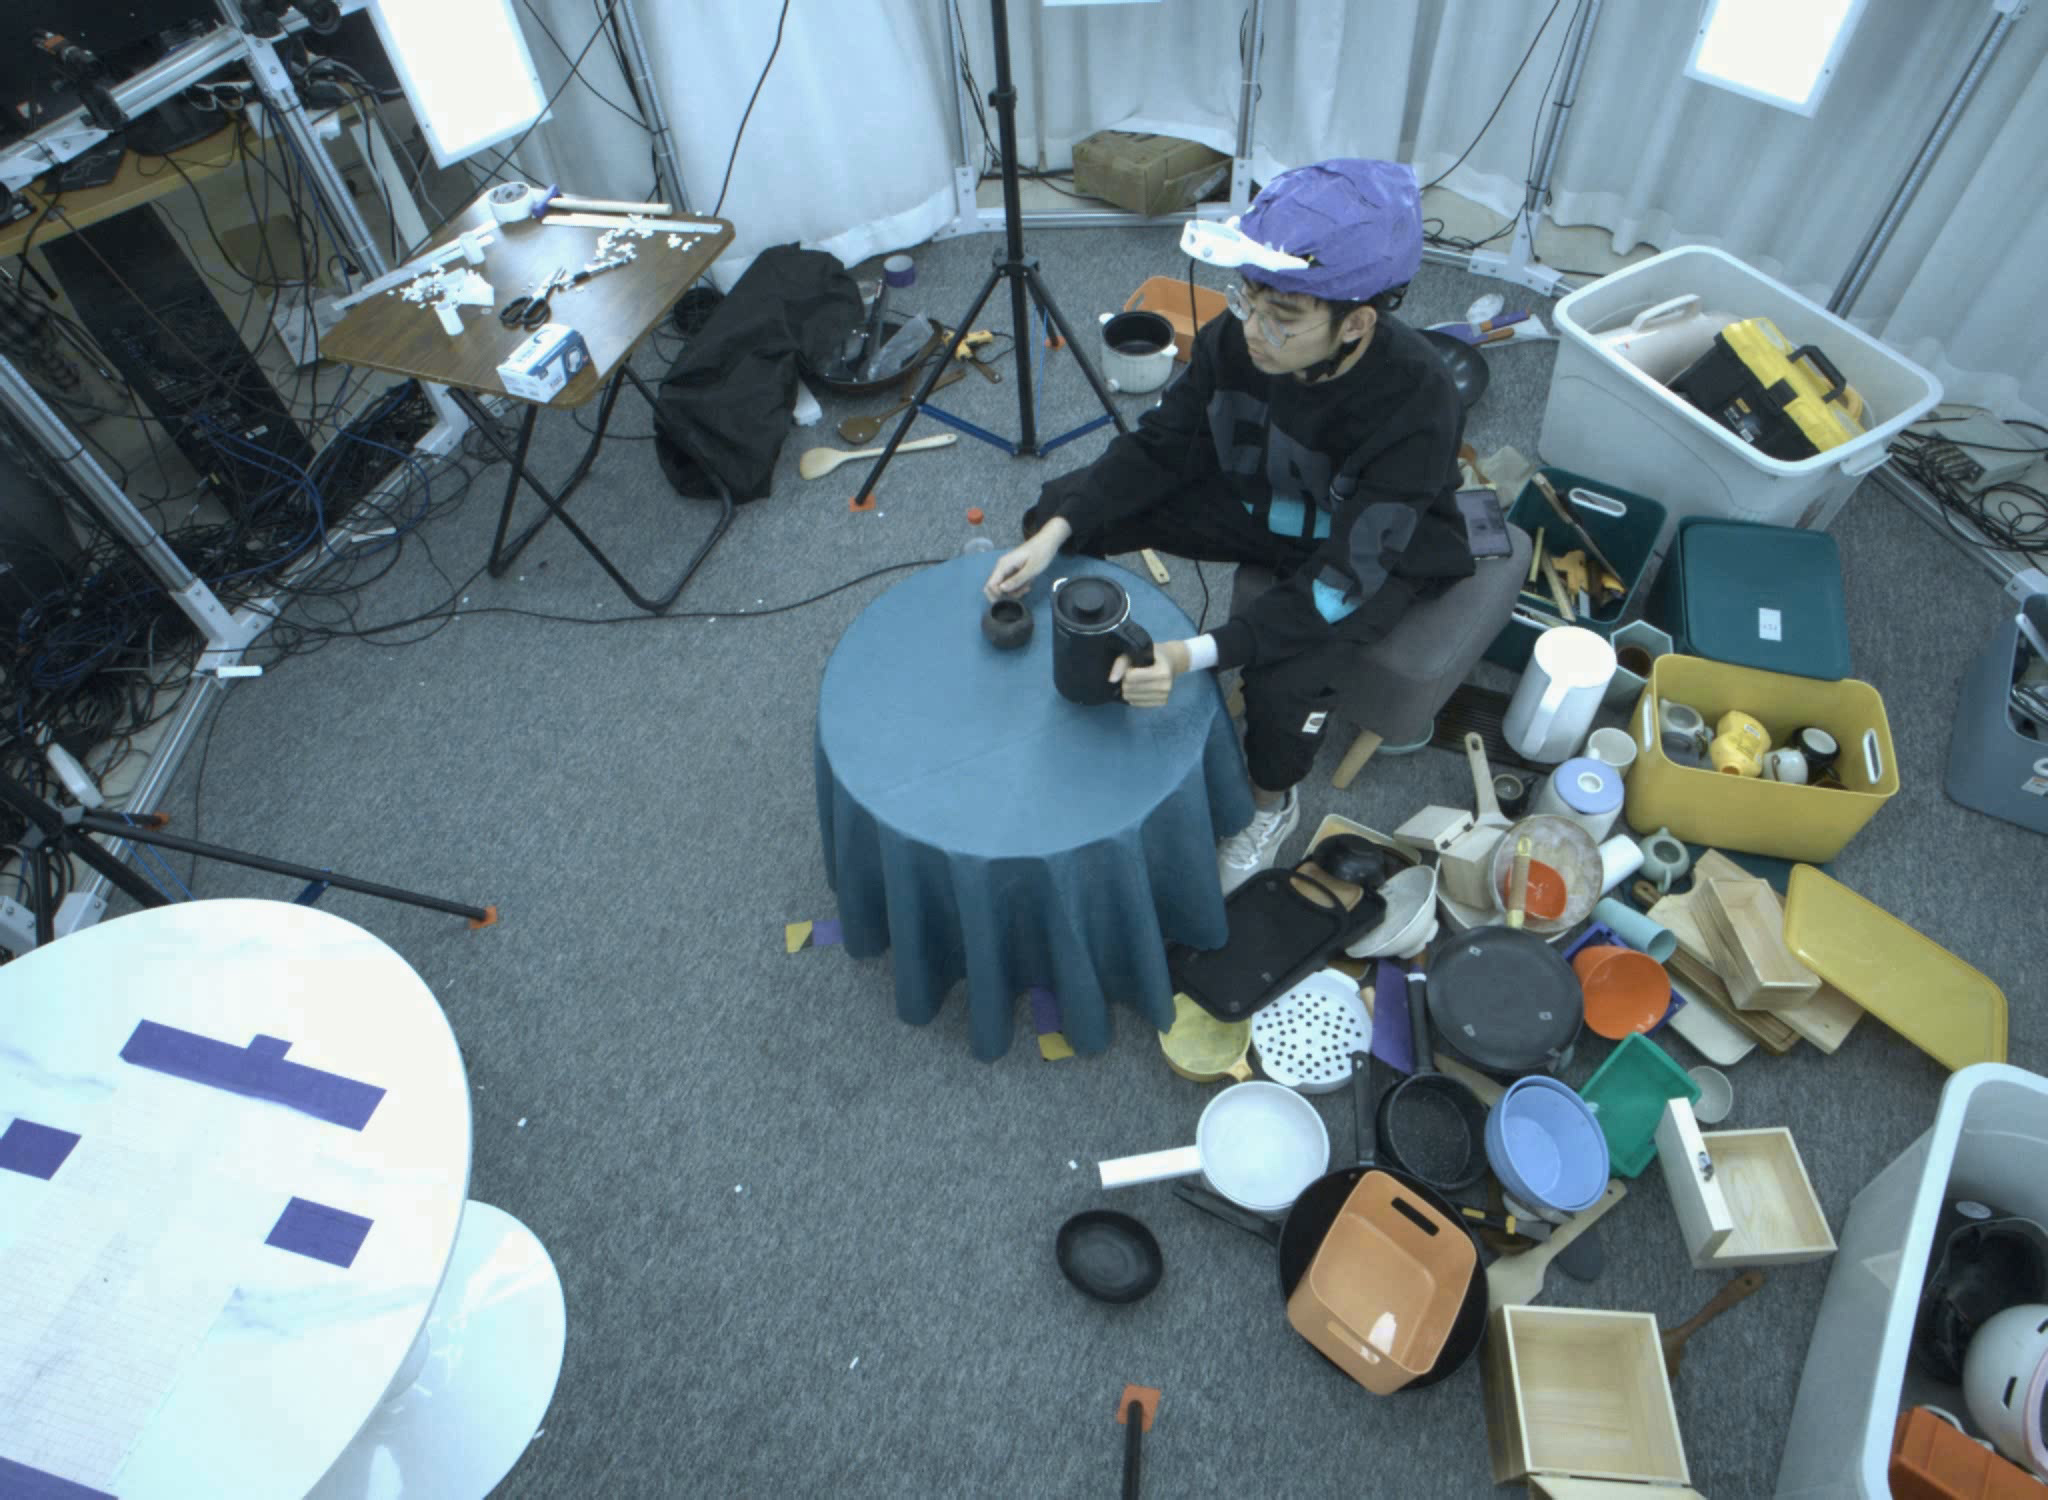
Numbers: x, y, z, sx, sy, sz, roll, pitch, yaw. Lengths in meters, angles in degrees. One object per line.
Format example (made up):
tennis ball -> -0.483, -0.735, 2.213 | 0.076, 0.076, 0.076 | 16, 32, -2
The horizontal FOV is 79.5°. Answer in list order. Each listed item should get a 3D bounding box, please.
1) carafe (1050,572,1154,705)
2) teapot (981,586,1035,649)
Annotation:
carafe -> 0.110, -0.147, 1.733 | 0.168, 0.175, 0.115 | 35, 62, 25
teapot -> -0.026, -0.206, 1.896 | 0.083, 0.053, 0.113 | -1, 59, -6
